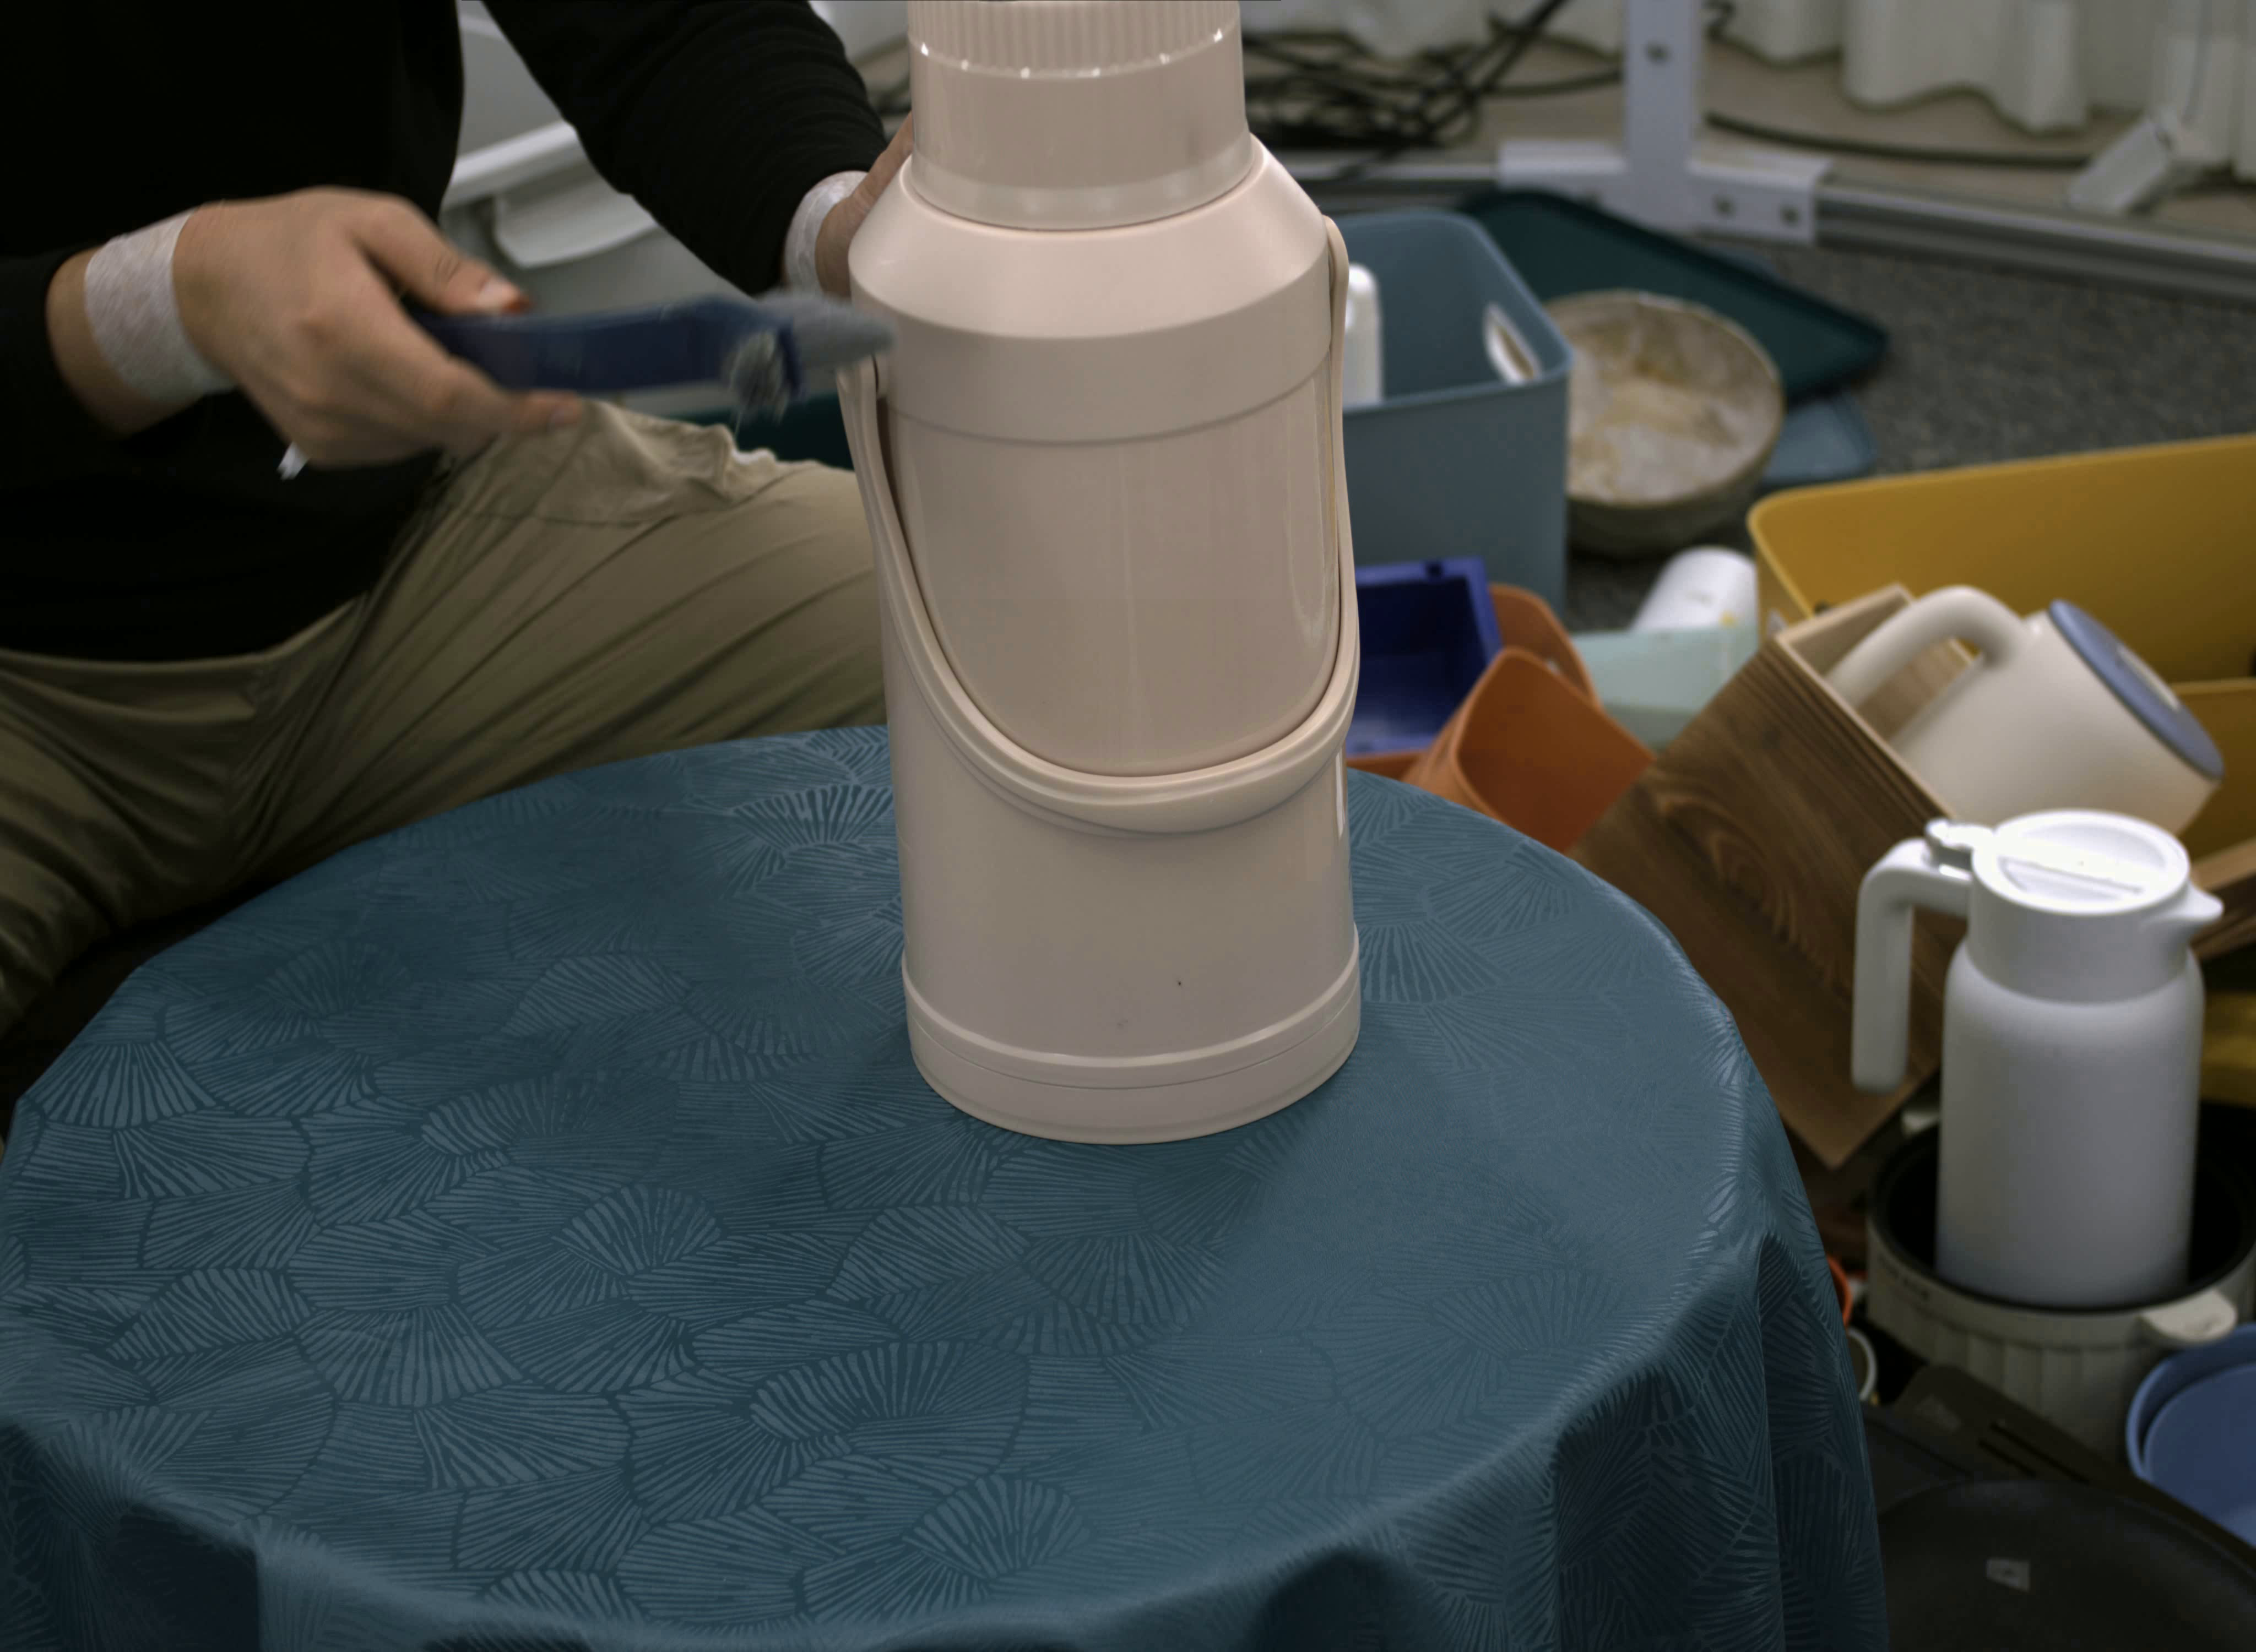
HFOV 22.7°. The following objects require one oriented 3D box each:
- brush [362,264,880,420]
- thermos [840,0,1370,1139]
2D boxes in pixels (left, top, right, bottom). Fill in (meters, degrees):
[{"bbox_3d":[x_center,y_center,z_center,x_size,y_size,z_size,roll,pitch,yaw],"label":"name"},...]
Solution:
[{"bbox_3d":[-0.181,-0.157,1.806,0.271,0.033,0.097,4,23,45],"label":"brush"},{"bbox_3d":[-0.011,-0.112,1.887,0.176,0.402,0.208,-16,29,-21],"label":"thermos"}]
